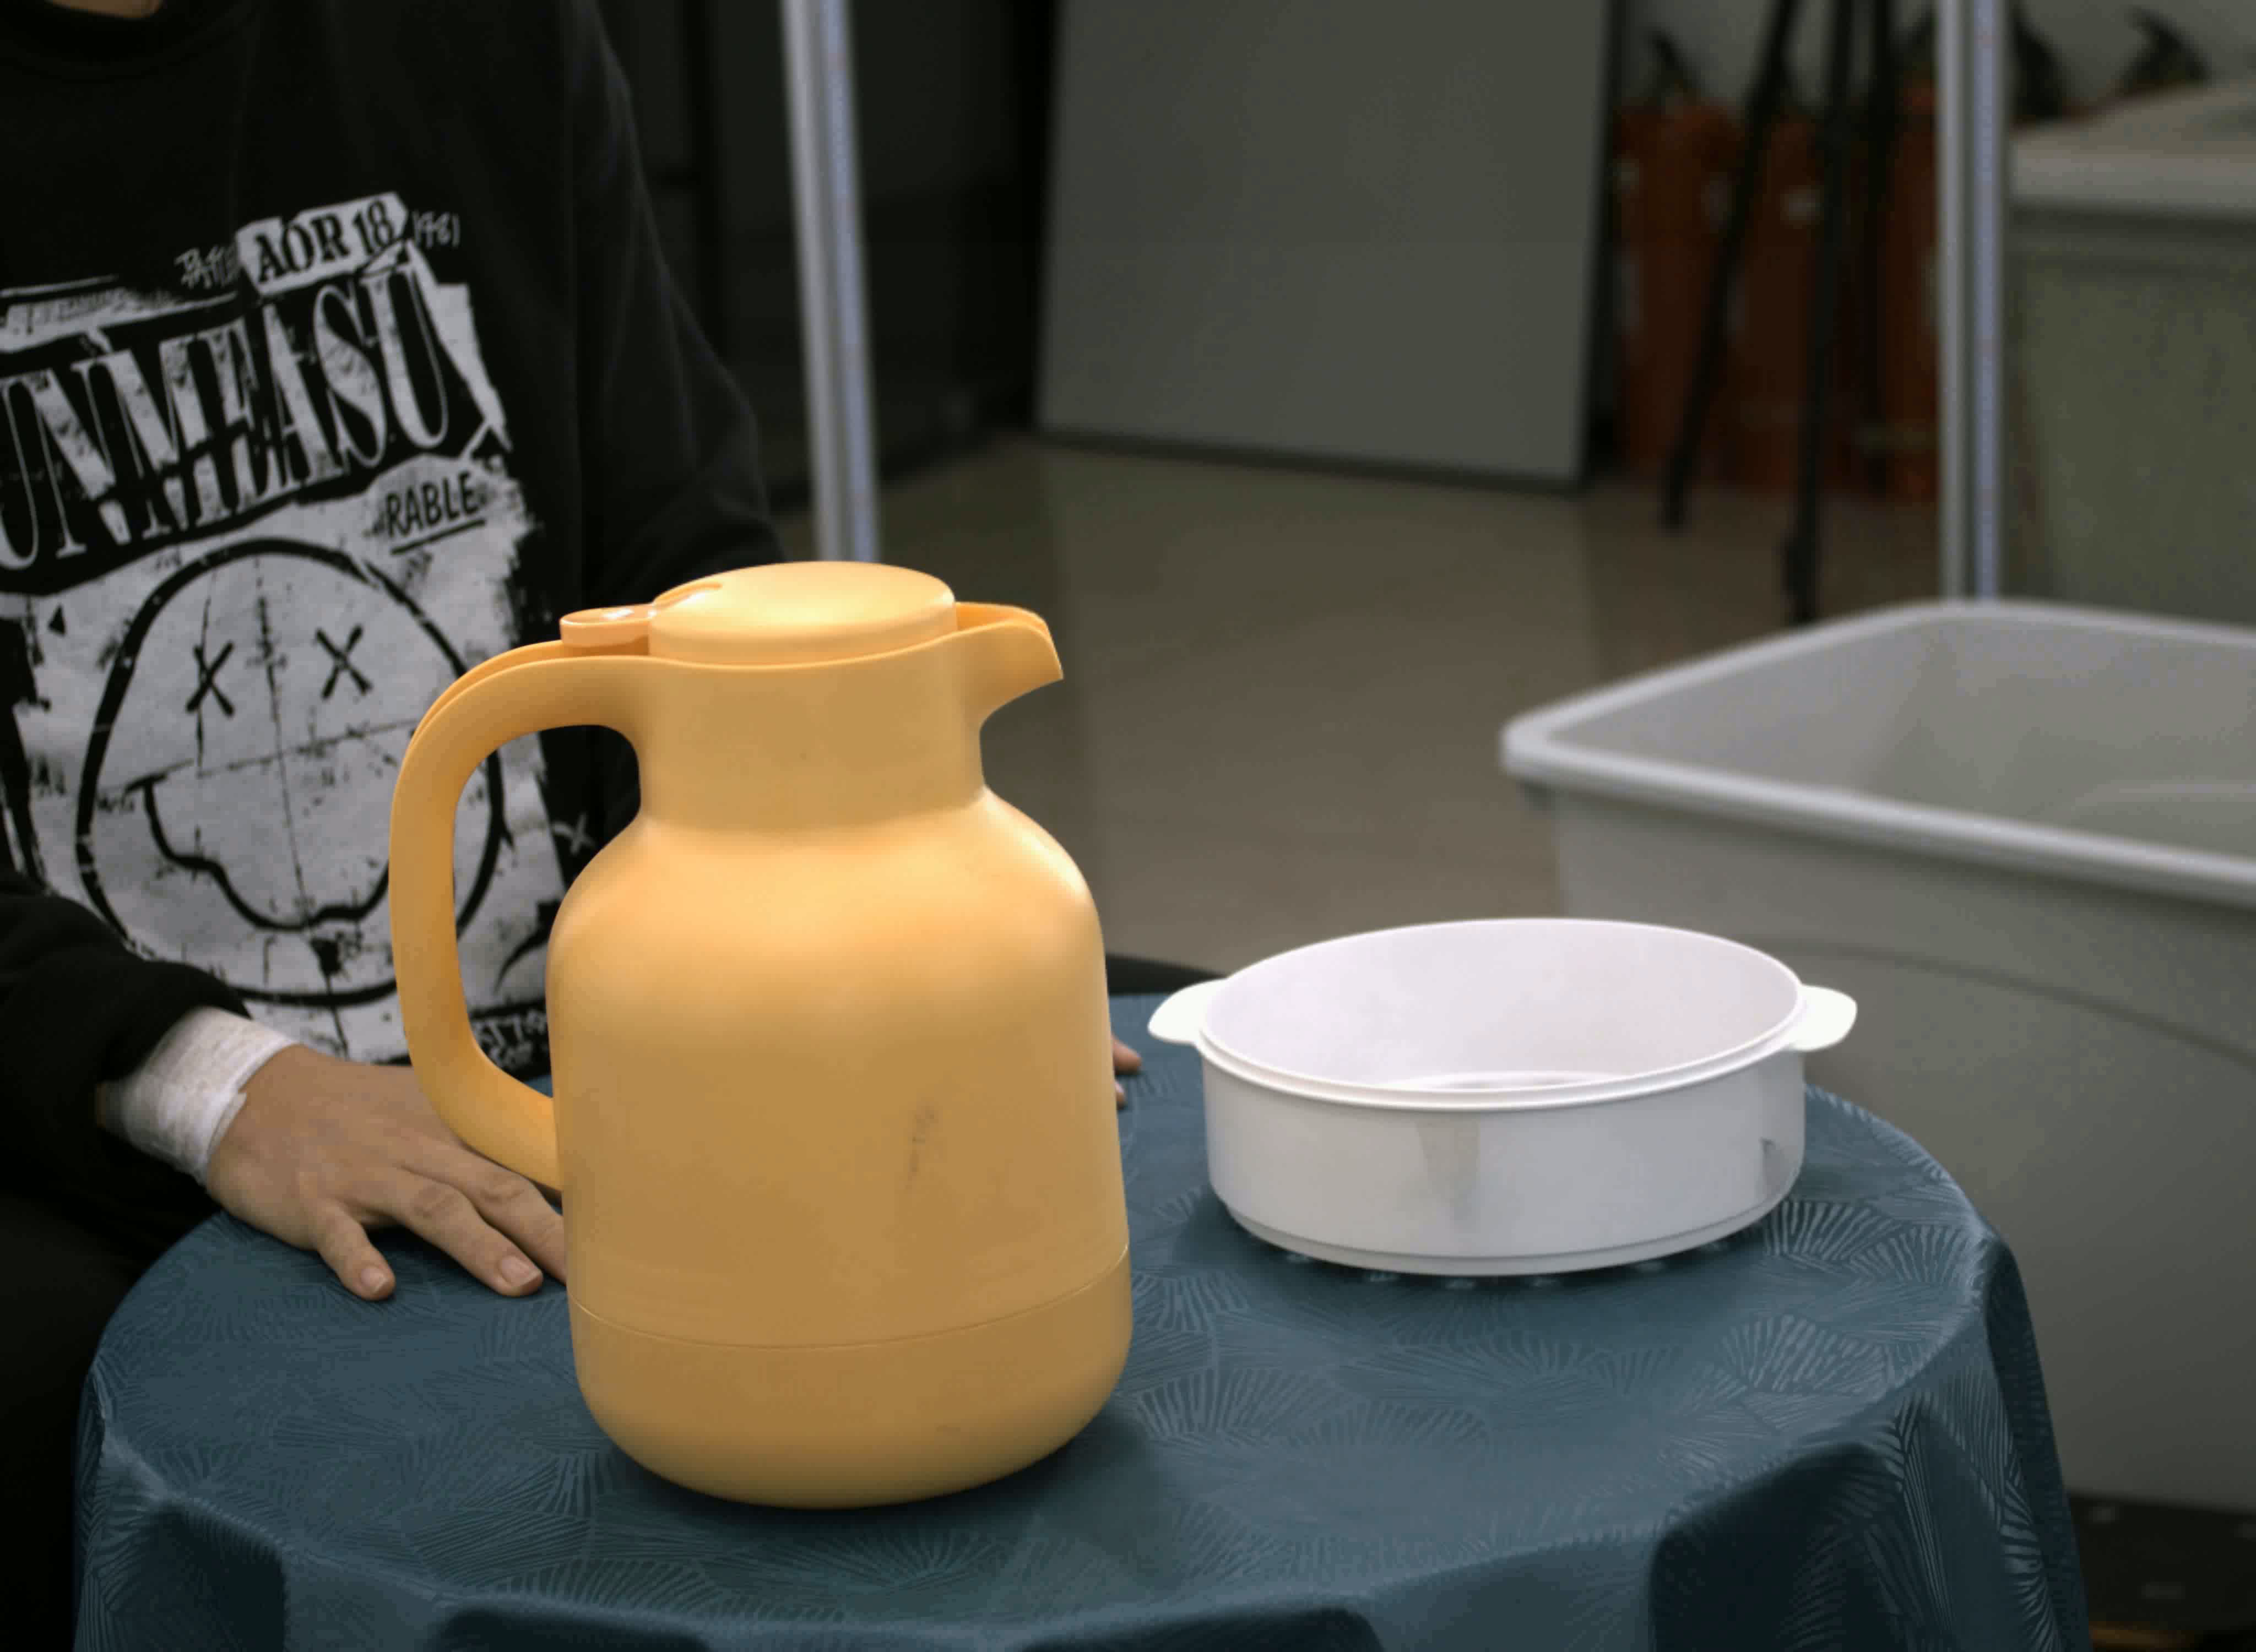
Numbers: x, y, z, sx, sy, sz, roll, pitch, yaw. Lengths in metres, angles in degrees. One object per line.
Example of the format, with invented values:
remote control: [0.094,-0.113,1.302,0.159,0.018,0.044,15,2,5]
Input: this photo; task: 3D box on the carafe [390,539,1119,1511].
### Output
carafe: [-0.105,0.053,1.533,0.200,0.263,0.163,-2,11,0]

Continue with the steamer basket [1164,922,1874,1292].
steamer basket: [0.126,0.090,1.732,0.229,0.070,0.200,0,15,16]
